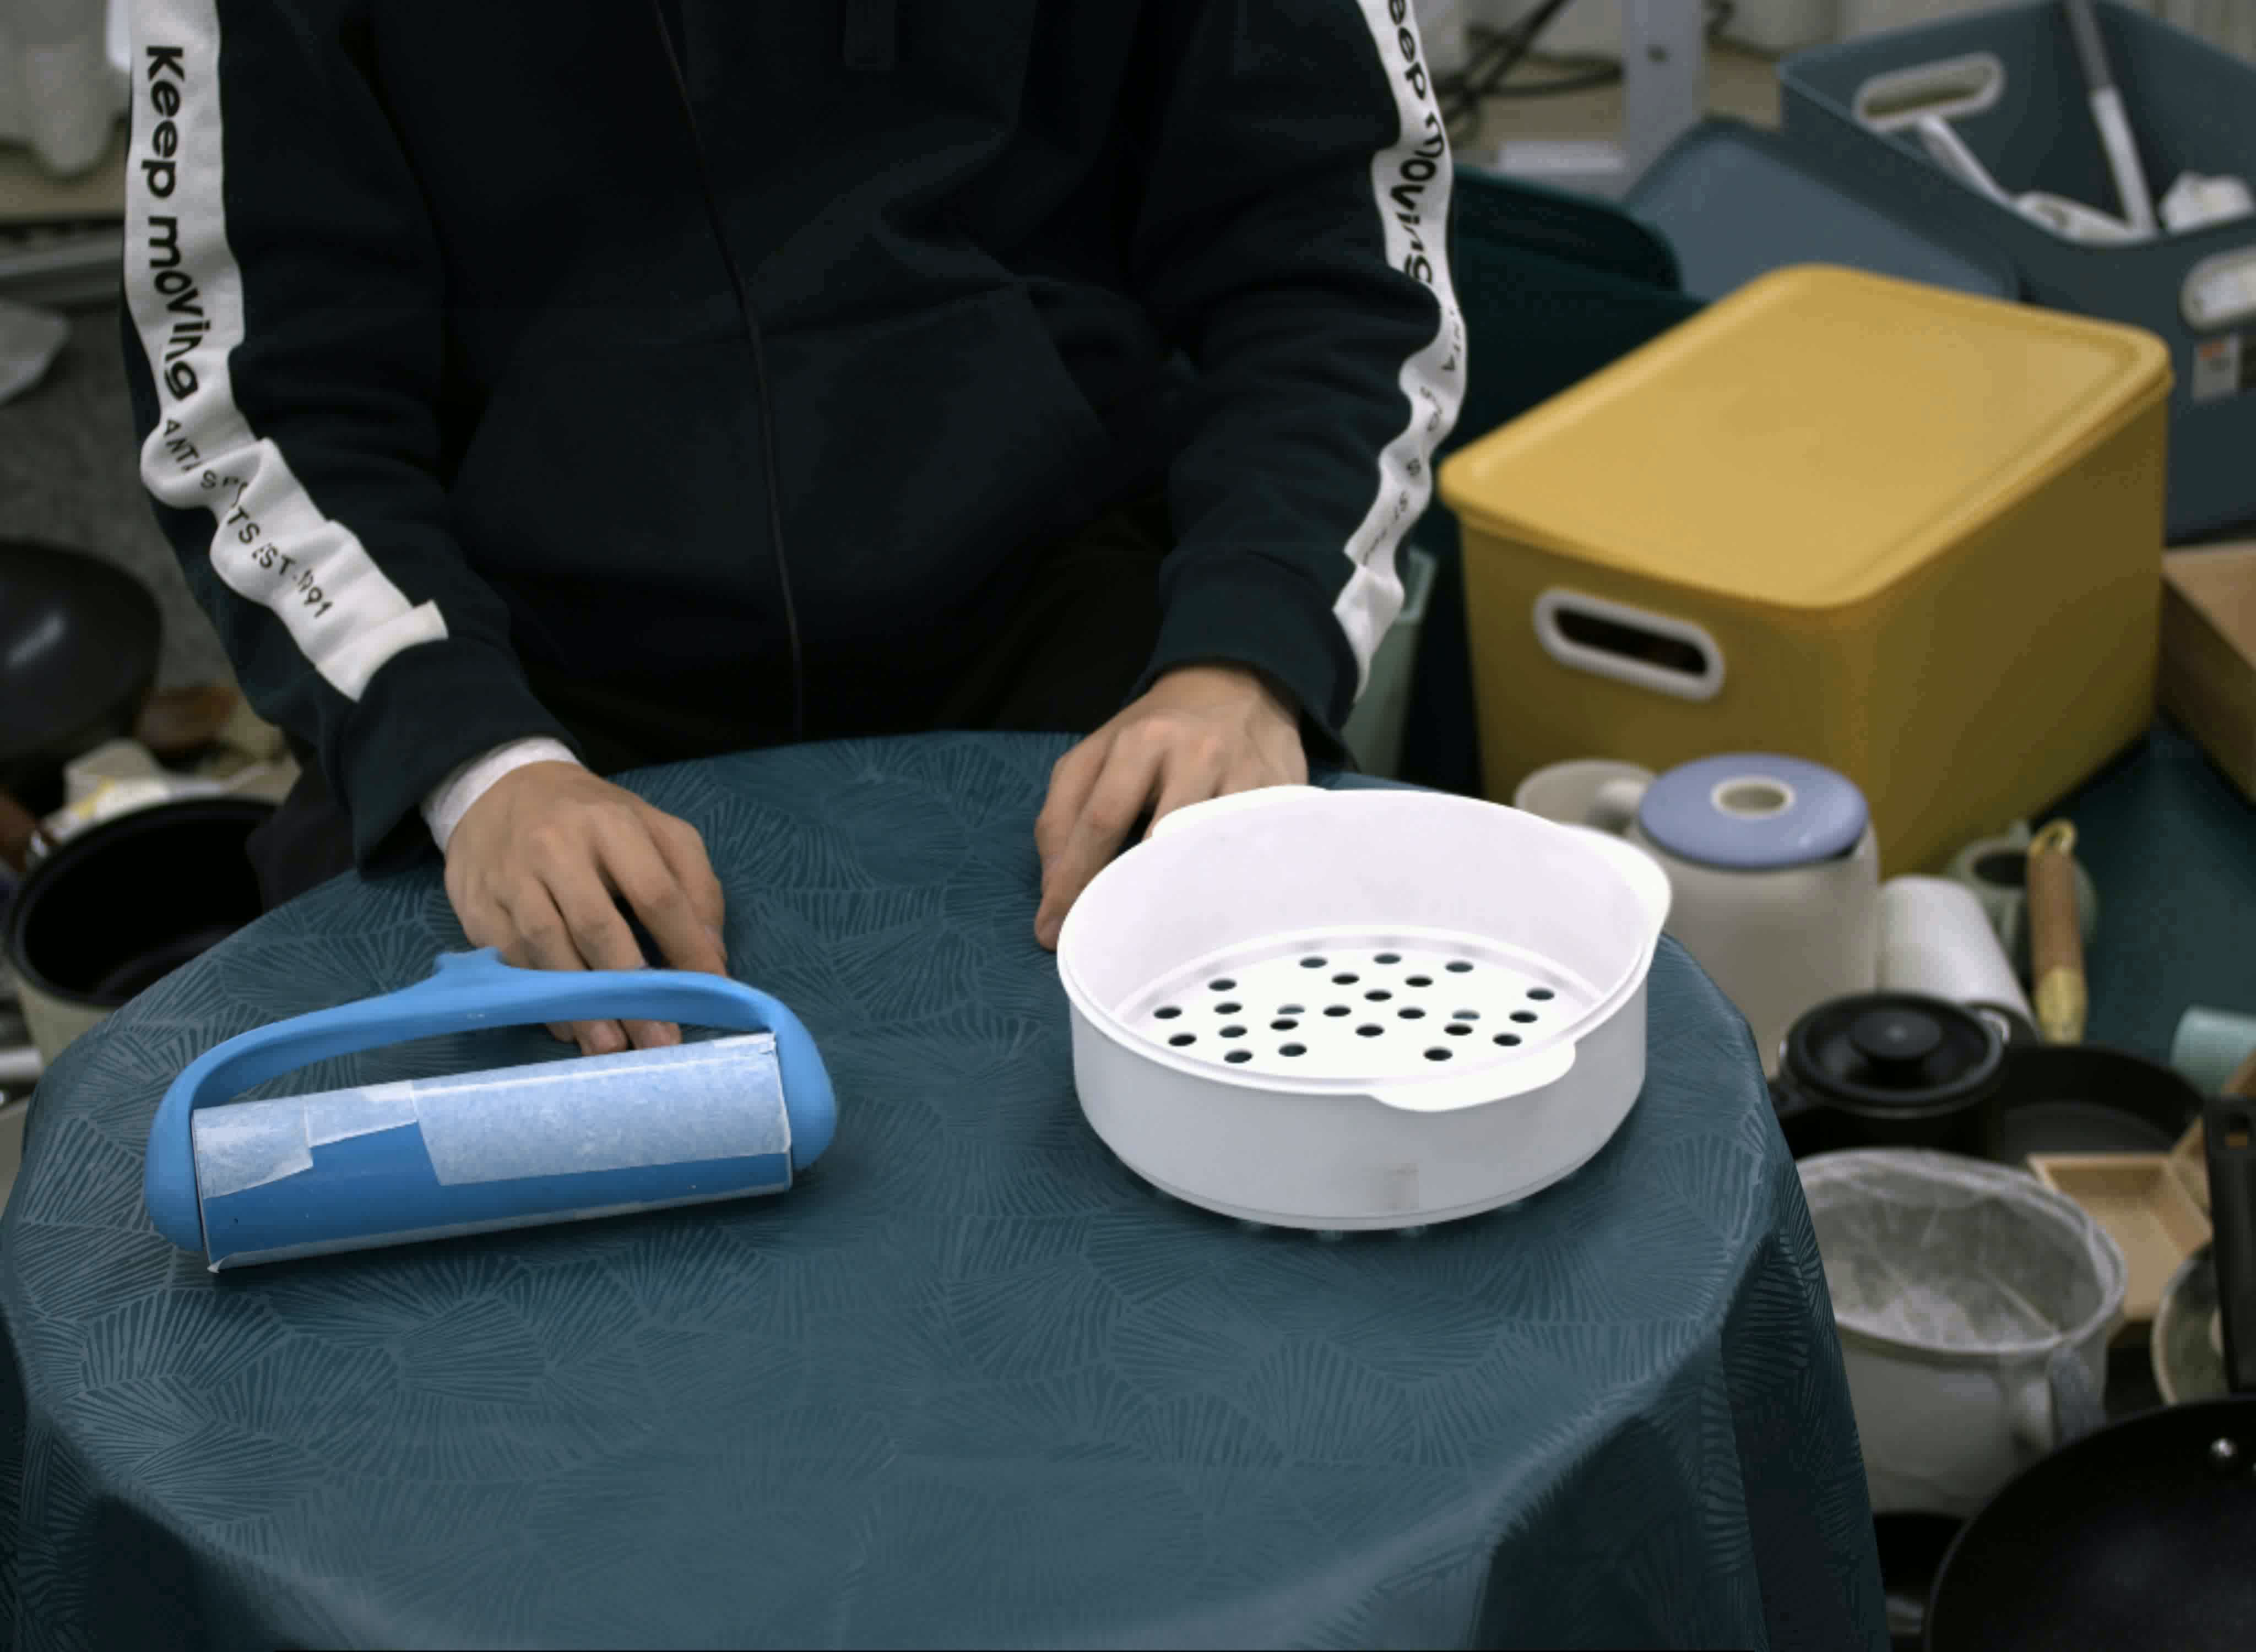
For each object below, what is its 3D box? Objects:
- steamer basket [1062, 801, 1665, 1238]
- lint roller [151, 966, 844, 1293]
[{"bbox_3d":[0.079,0.065,1.888,0.202,0.068,0.232,-12,28,-18],"label":"steamer basket"},{"bbox_3d":[-0.221,0.083,1.898,0.229,0.067,0.182,-11,29,-11],"label":"lint roller"}]
